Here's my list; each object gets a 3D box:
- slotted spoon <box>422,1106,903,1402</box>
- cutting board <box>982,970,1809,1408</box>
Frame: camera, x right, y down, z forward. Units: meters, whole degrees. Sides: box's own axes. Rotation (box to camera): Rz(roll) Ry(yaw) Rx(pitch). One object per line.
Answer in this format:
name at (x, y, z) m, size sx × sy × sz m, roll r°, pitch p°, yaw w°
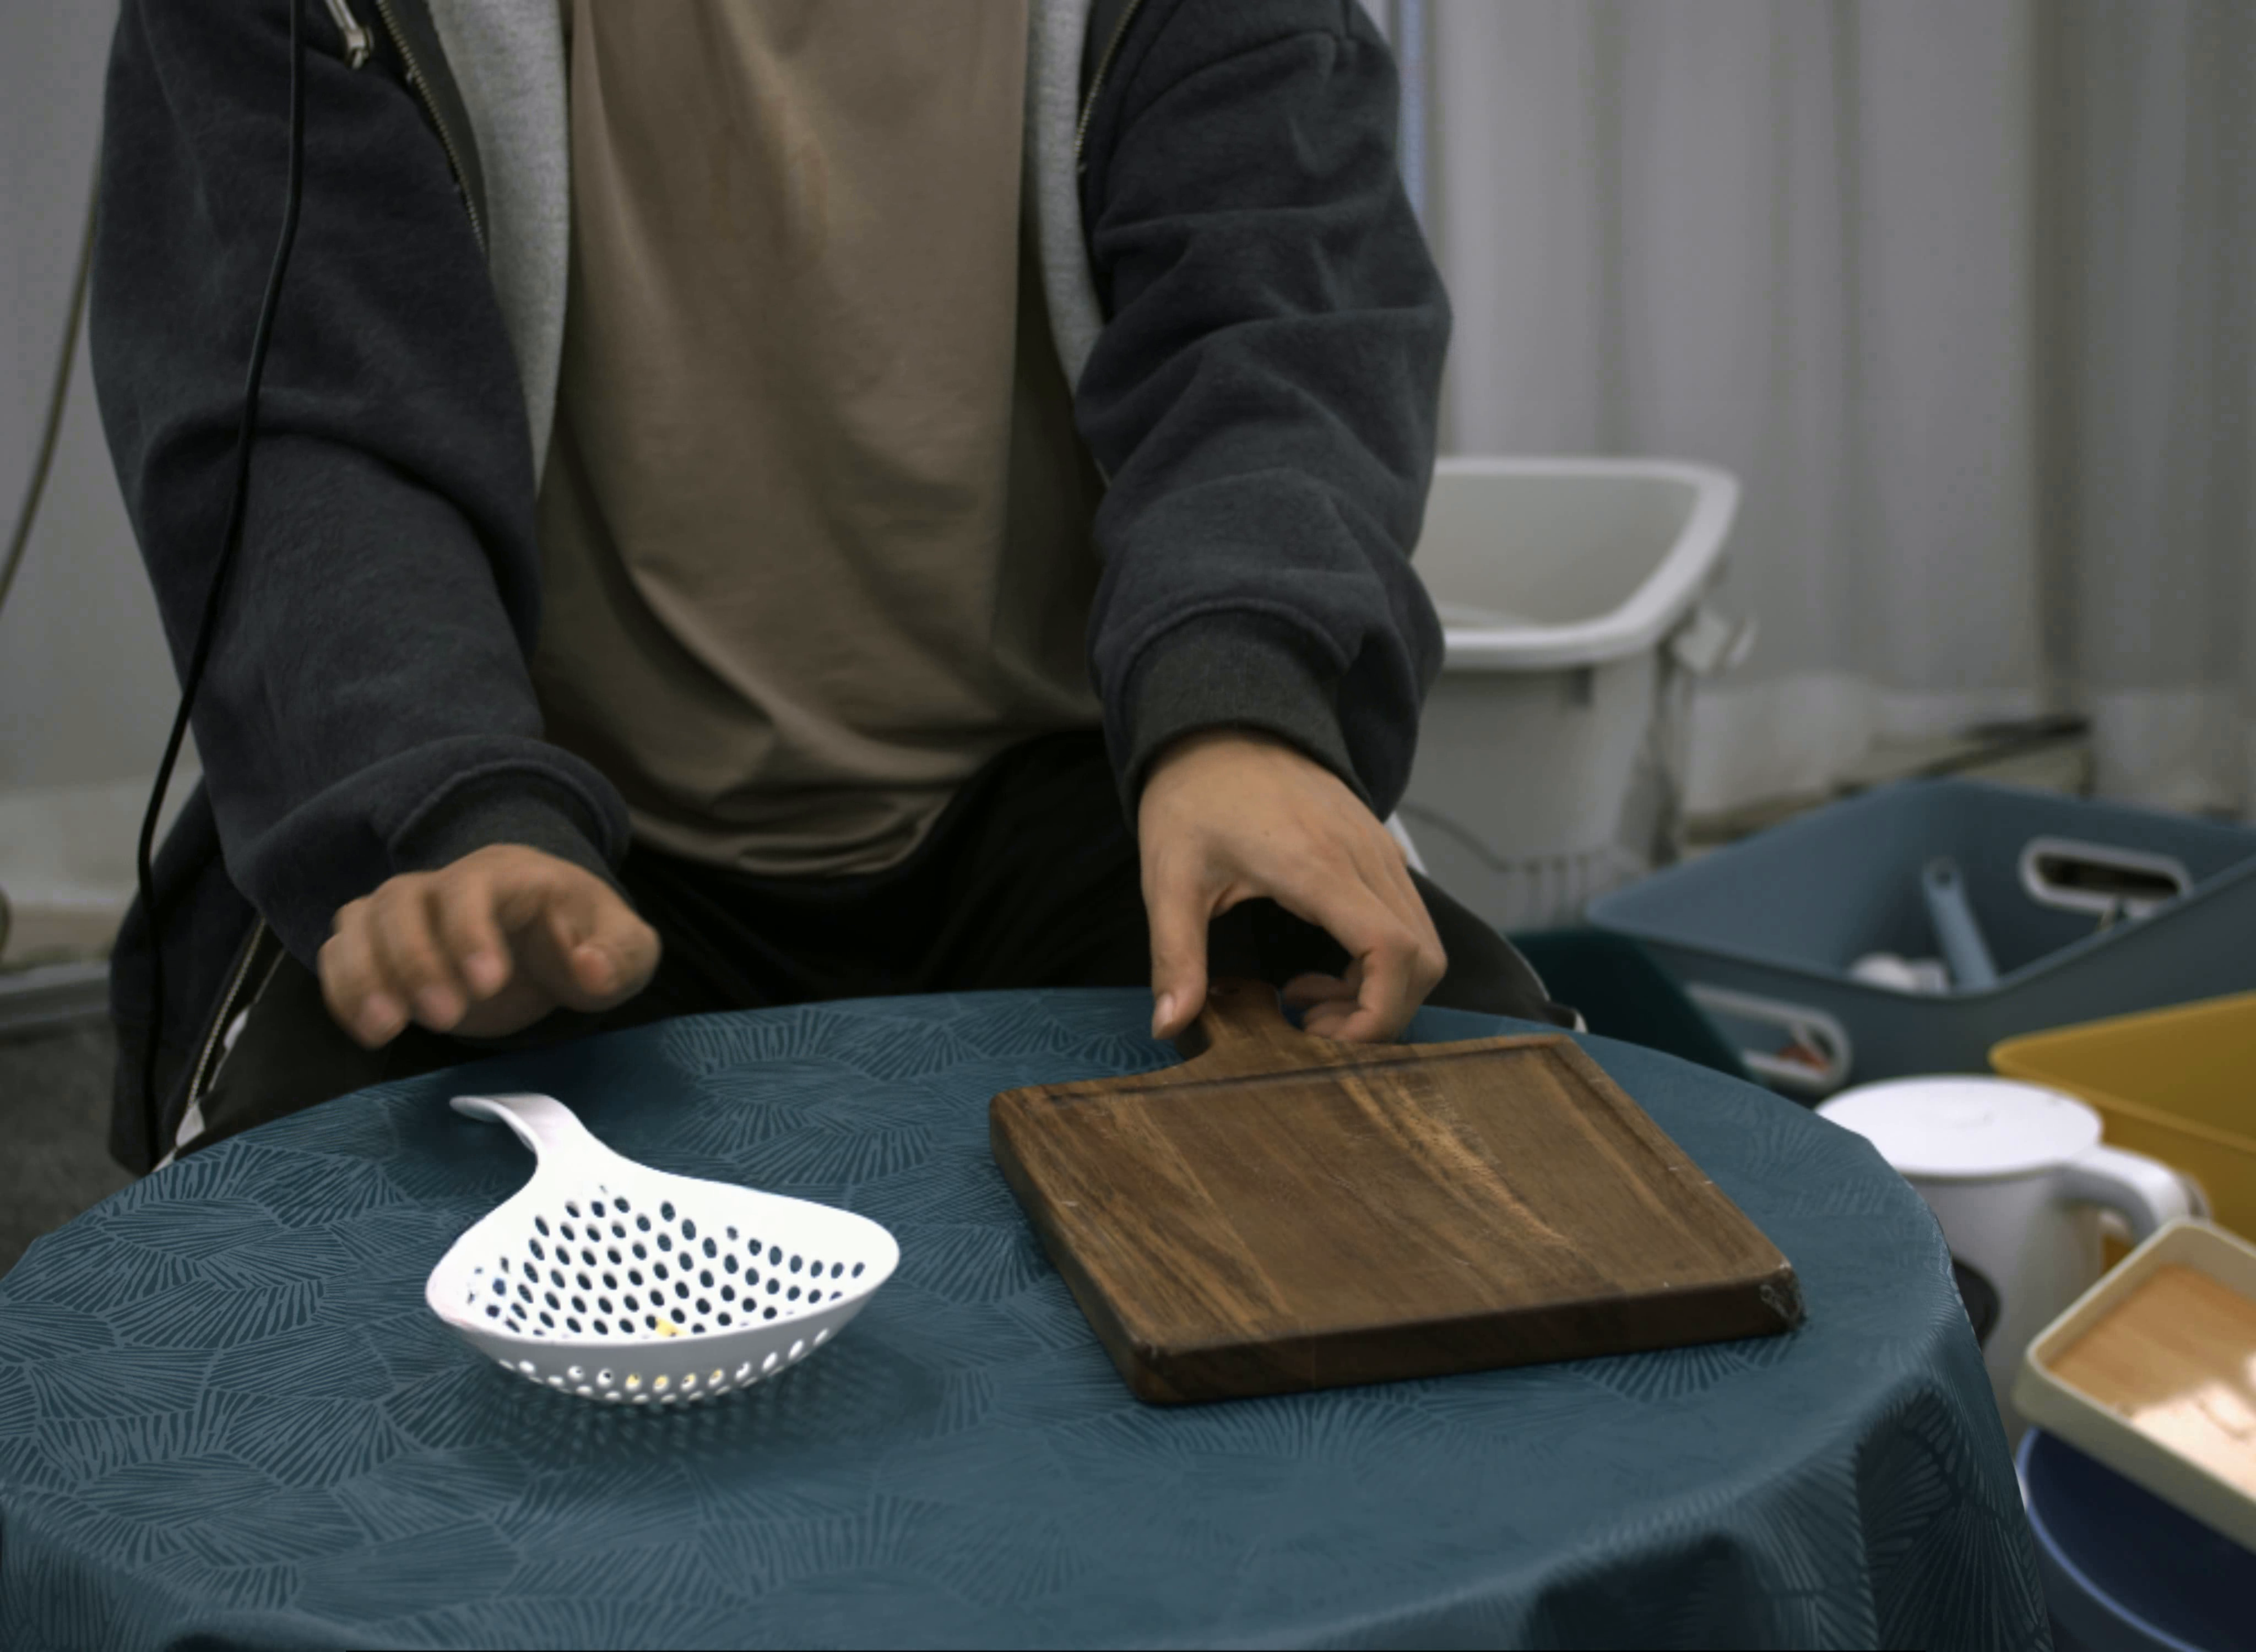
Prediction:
slotted spoon at (-0.166, 0.116, 1.664) m, size 0.136 × 0.050 × 0.351 m, roll -10°, pitch 16°, yaw -17°
cutting board at (0.064, 0.103, 1.708) m, size 0.200 × 0.023 × 0.355 m, roll -5°, pitch 15°, yaw -11°
